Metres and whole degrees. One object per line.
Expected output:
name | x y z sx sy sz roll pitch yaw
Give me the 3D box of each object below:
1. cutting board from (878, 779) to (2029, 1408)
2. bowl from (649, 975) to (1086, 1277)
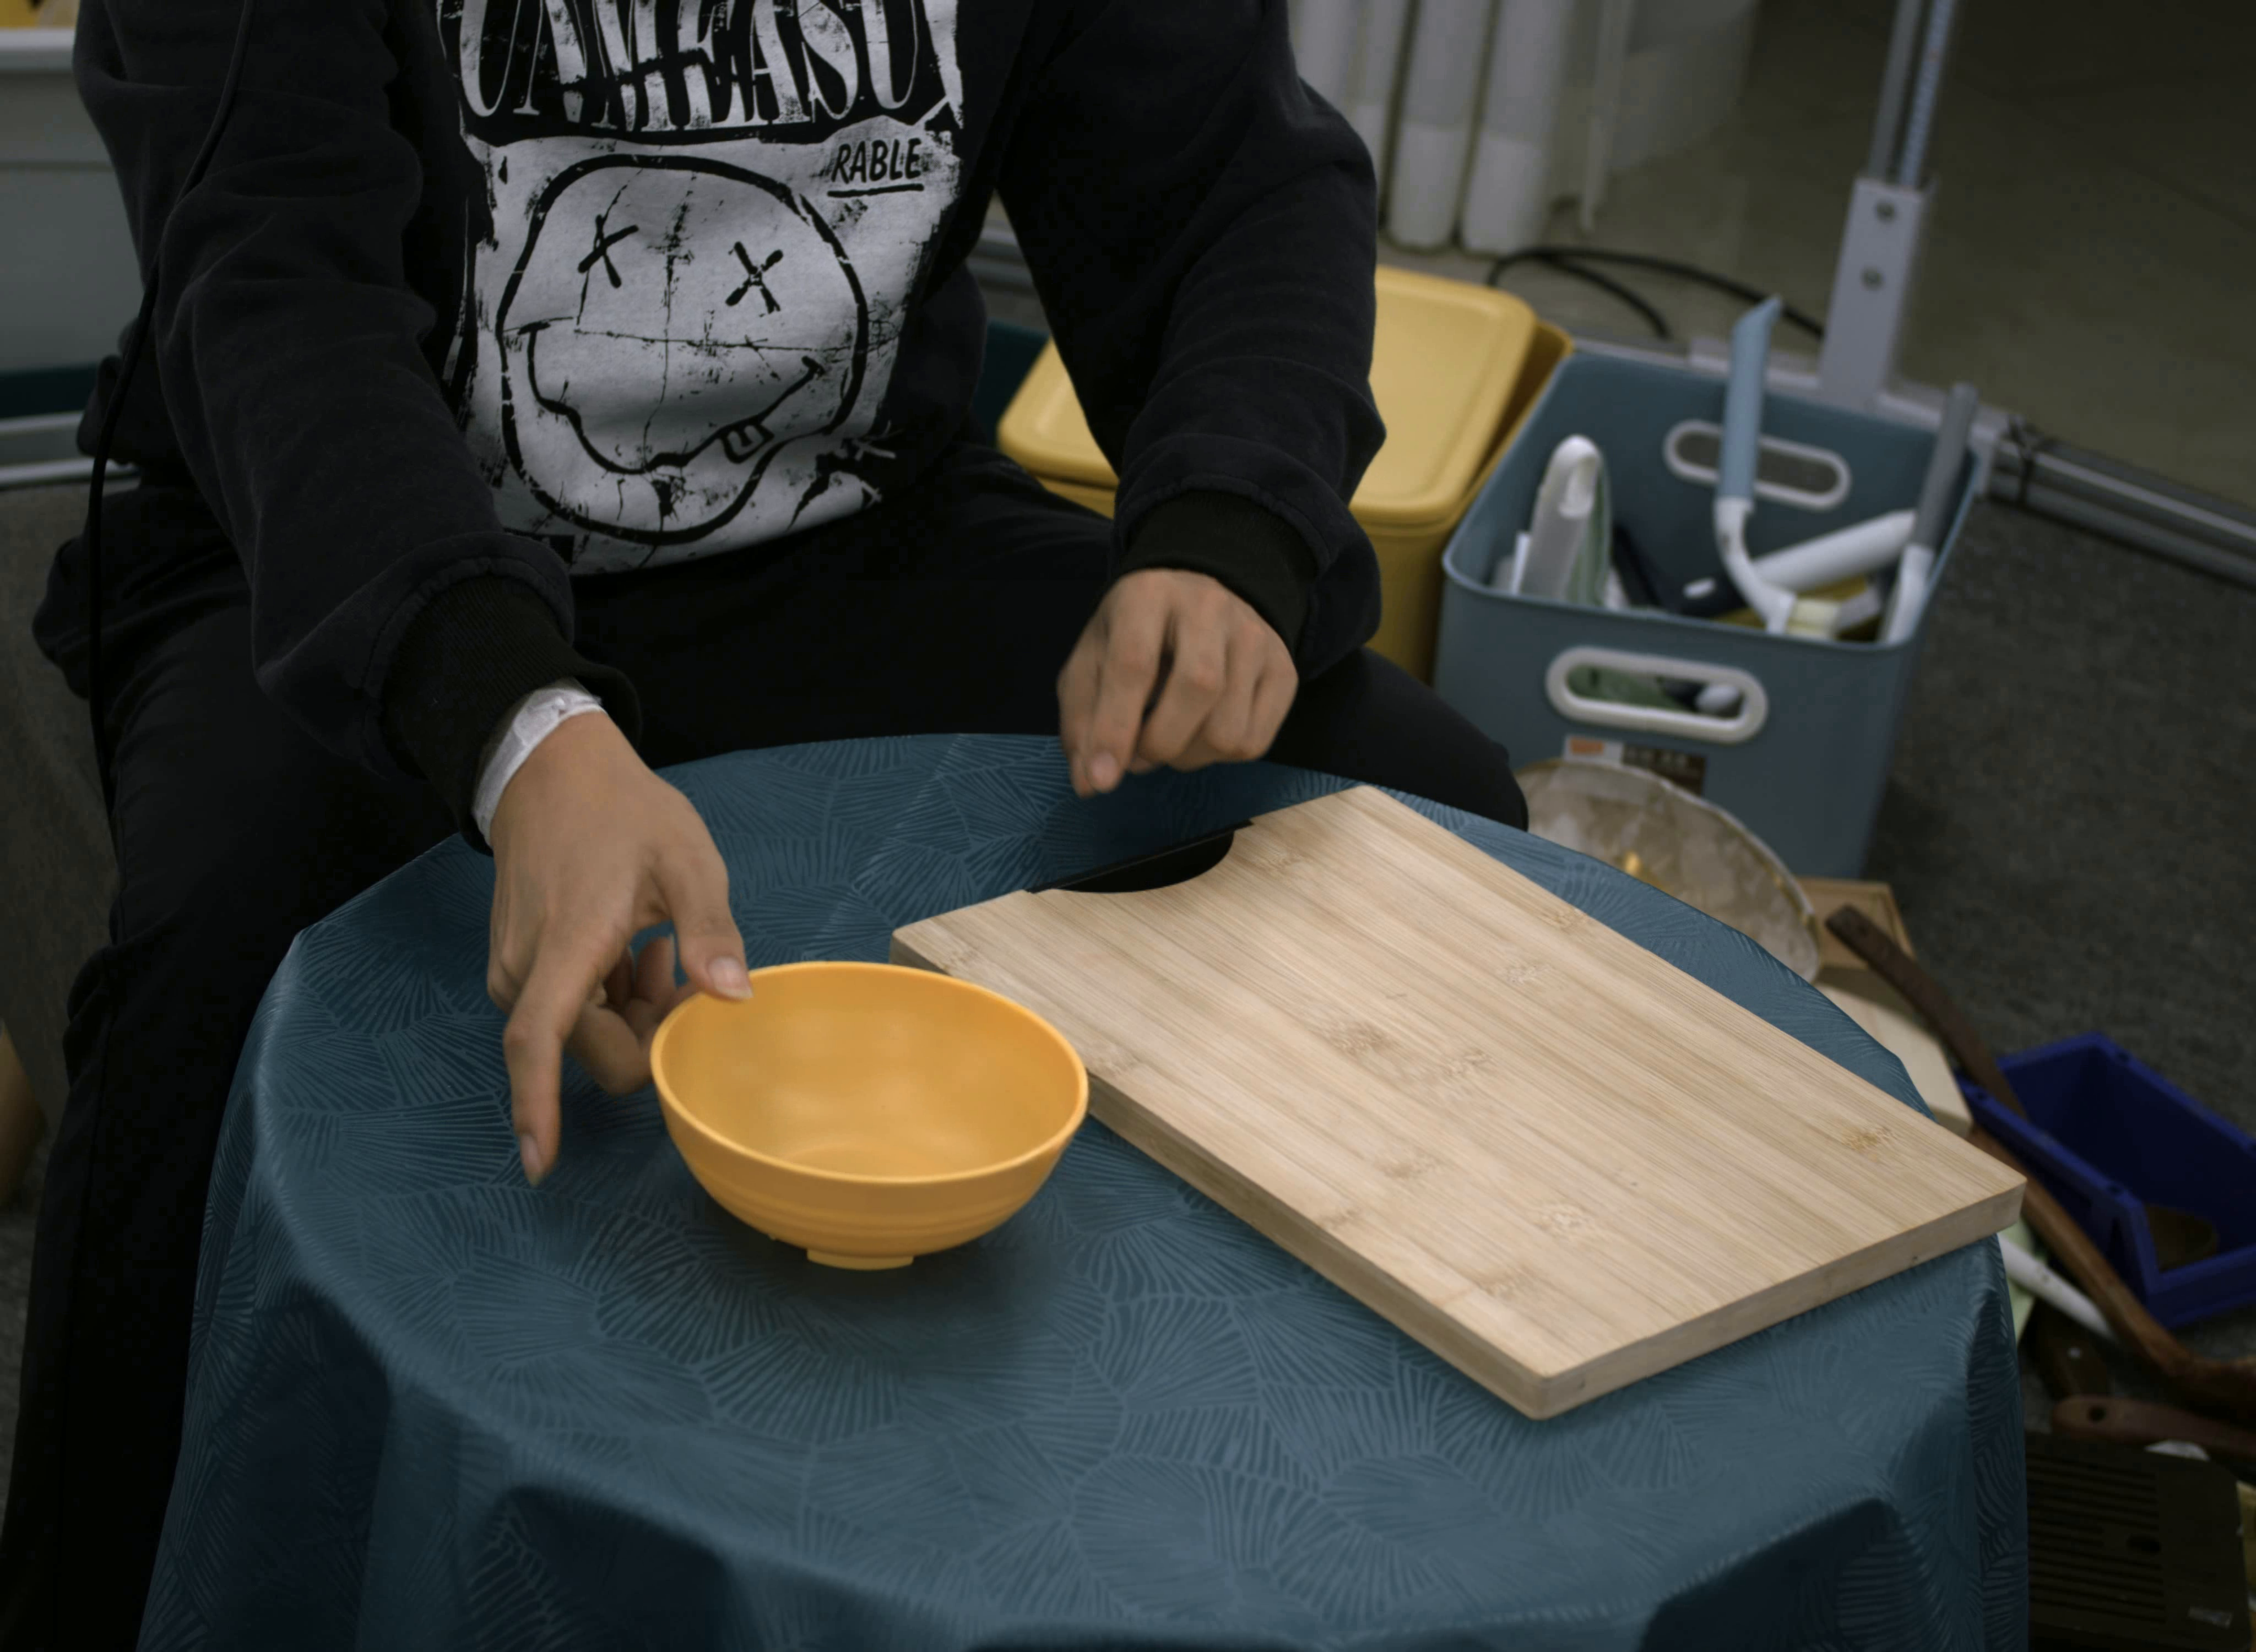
cutting board | 0.110 0.086 1.881 0.249 0.023 0.351 -17 35 -39
bowl | -0.089 0.107 1.753 0.145 0.060 0.146 6 24 -3
